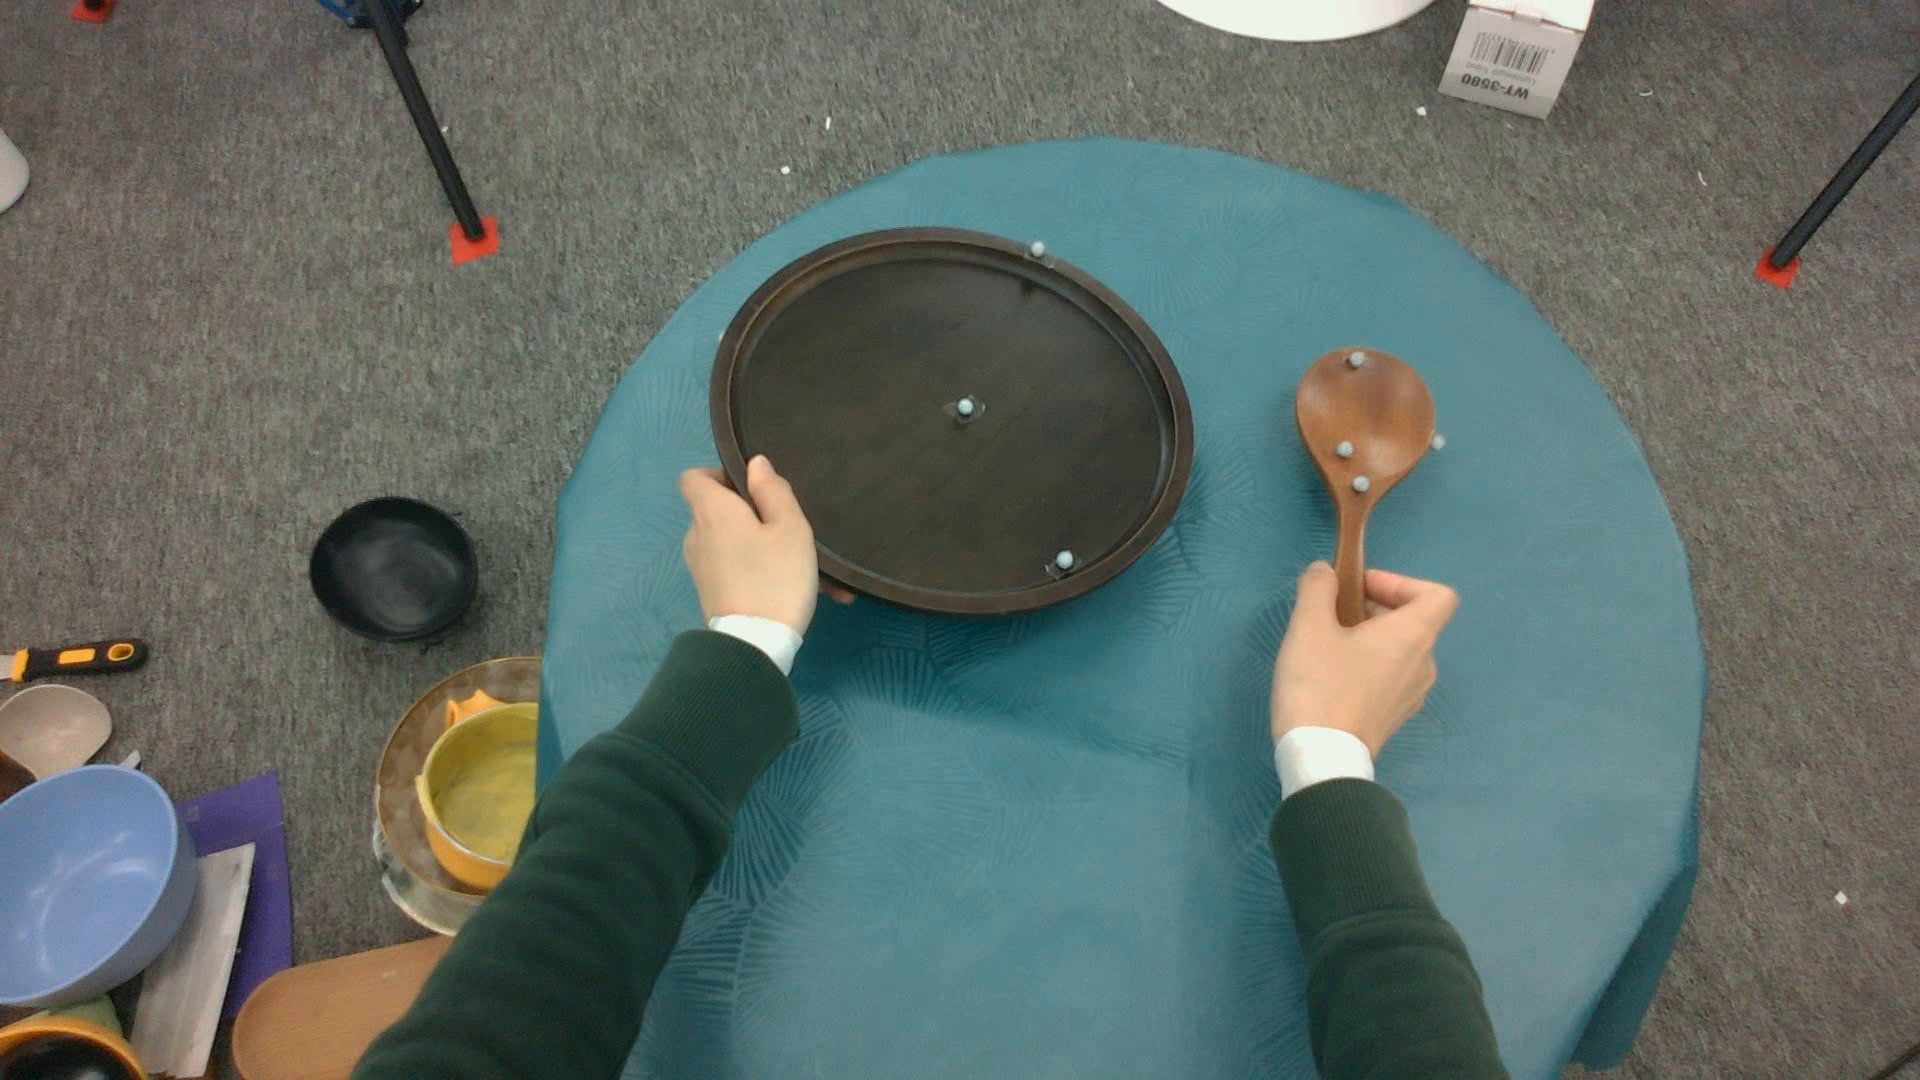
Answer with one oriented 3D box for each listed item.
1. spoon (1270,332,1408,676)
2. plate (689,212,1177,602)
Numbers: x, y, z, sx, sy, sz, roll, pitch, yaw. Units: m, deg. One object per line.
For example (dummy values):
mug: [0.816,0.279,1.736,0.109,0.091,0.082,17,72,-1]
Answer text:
spoon: [0.190,-0.024,0.705,0.075,0.017,0.217,13,55,3]
plate: [-0.013,-0.075,0.719,0.255,0.029,0.256,5,55,-6]
